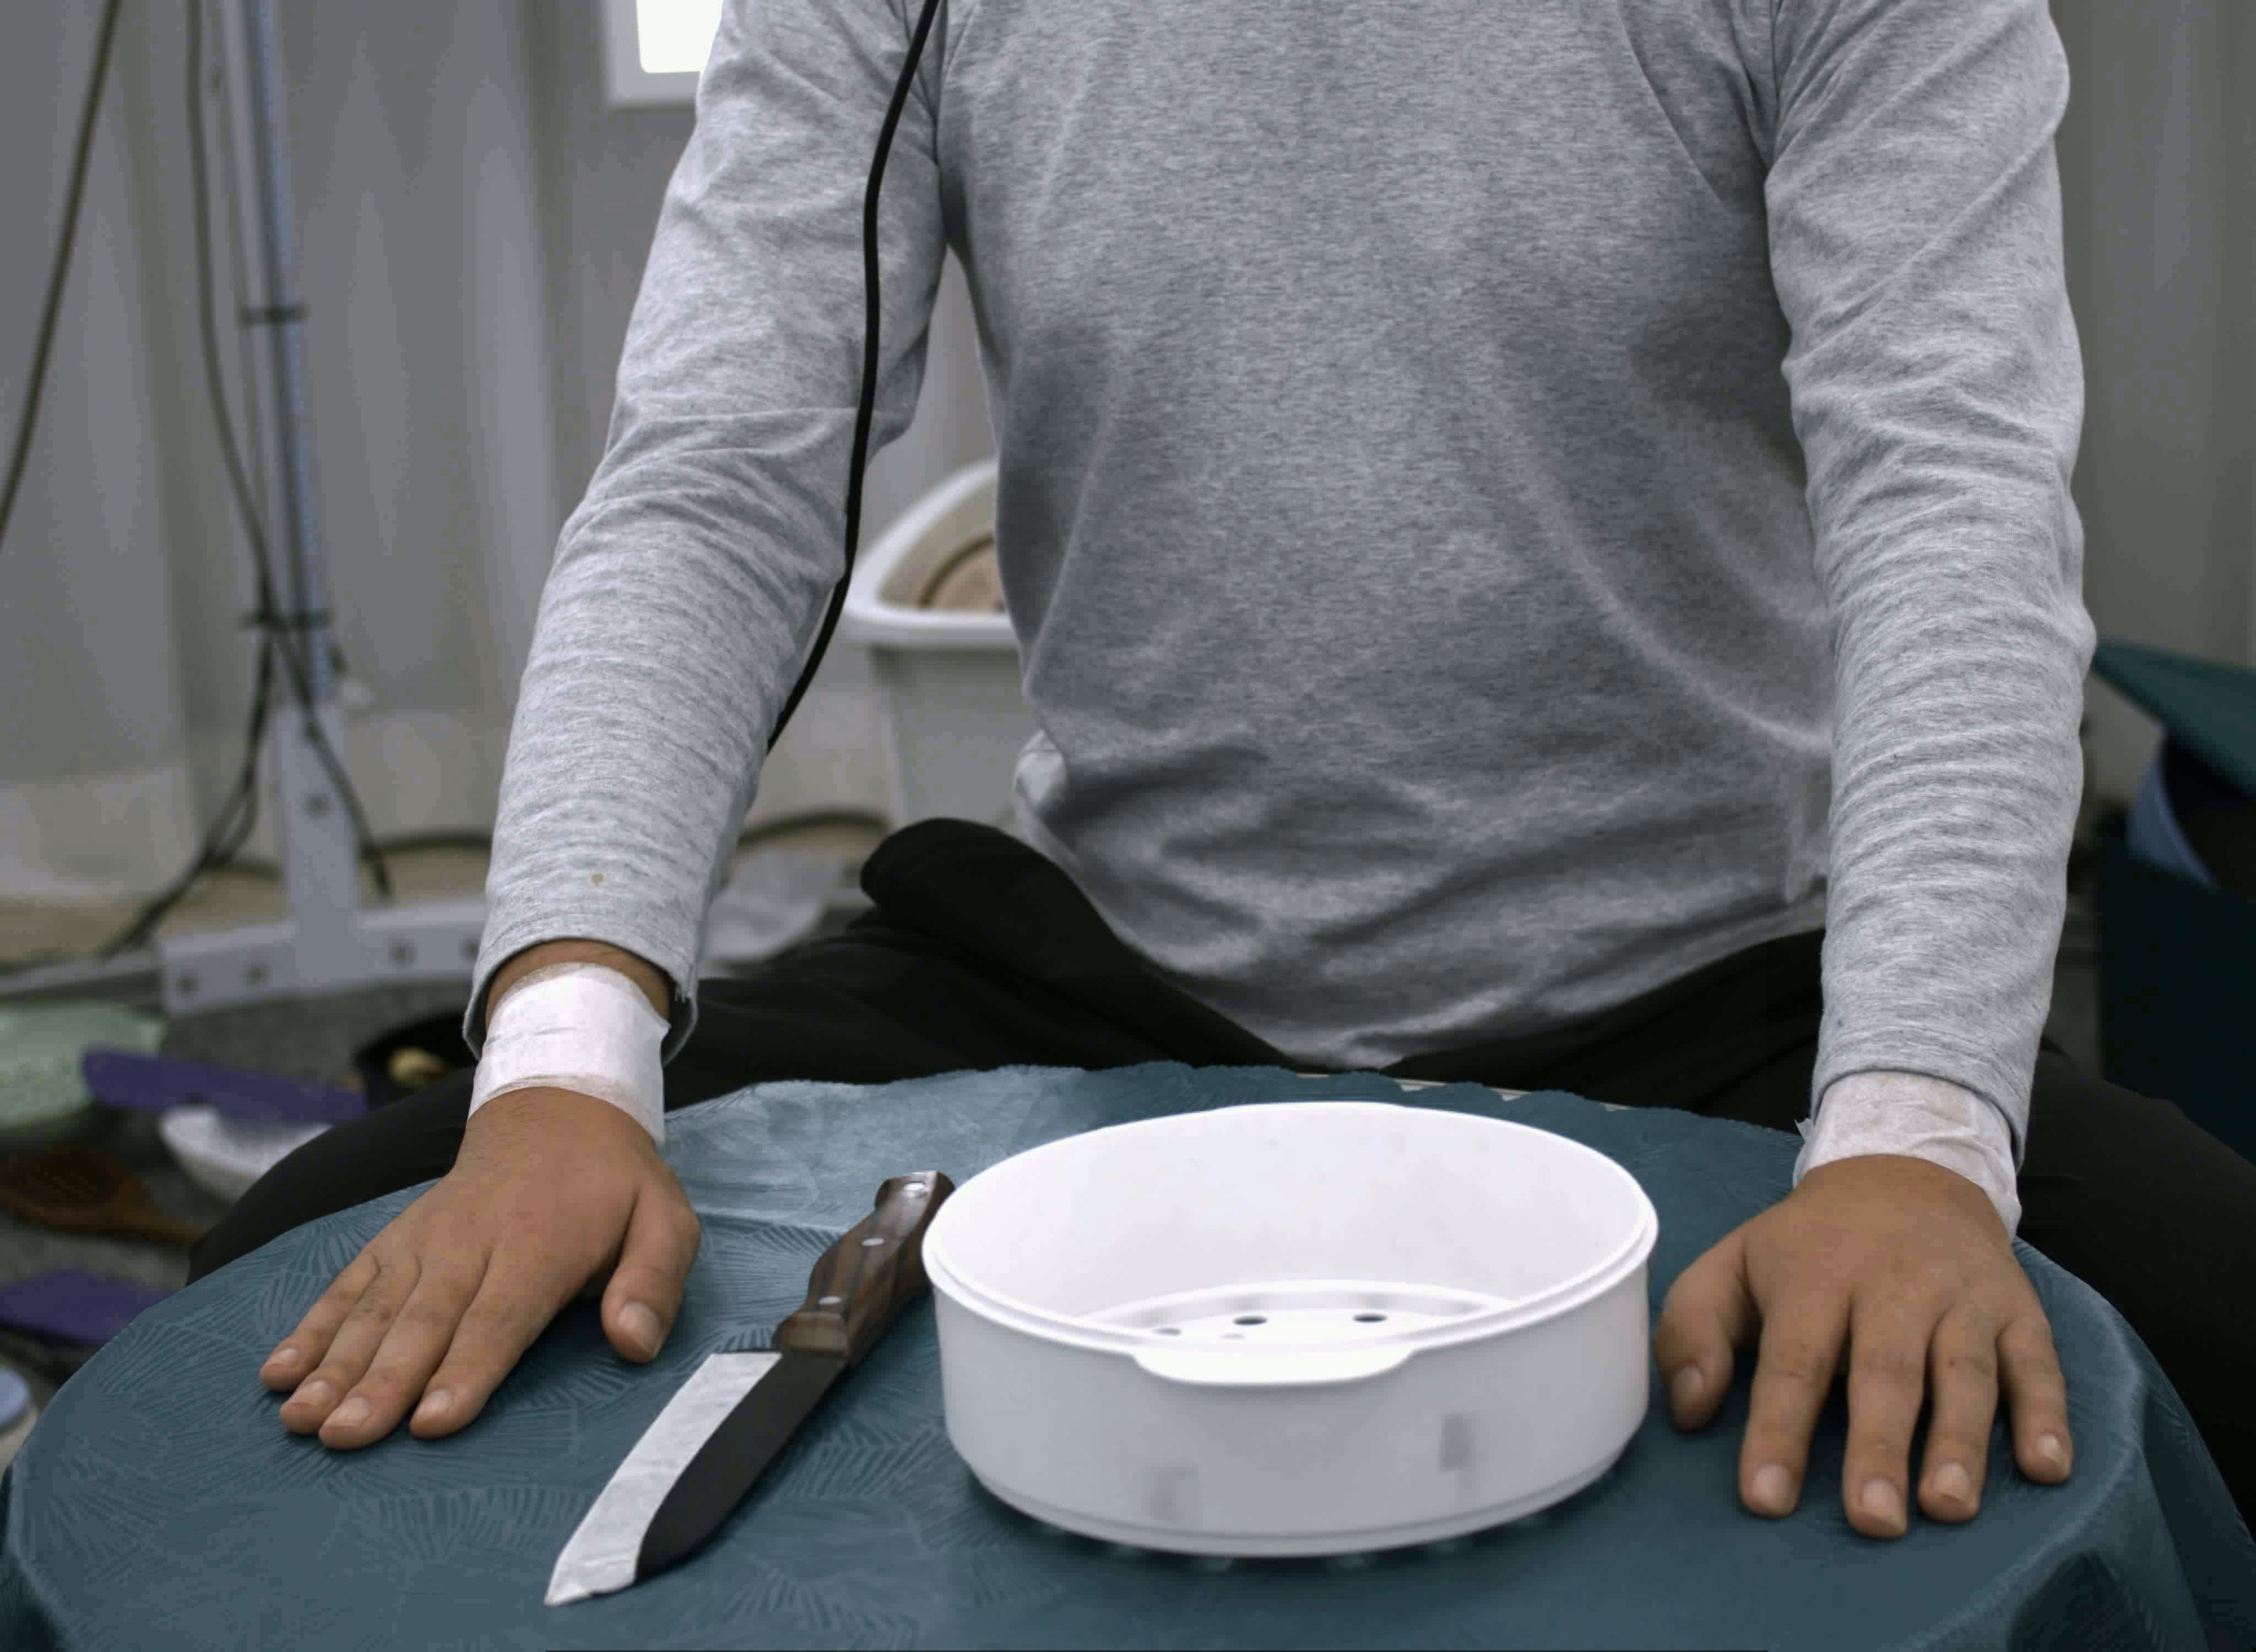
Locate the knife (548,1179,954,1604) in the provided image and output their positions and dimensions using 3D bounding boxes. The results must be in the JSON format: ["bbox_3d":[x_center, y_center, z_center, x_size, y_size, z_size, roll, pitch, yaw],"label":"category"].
[{"bbox_3d":[-0.103,0.159,1.543,0.050,0.020,0.290,-3,16,19],"label":"knife"}]

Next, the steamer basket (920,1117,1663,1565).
[{"bbox_3d":[0.045,0.139,1.487,0.201,0.069,0.232,-1,14,5],"label":"steamer basket"}]
